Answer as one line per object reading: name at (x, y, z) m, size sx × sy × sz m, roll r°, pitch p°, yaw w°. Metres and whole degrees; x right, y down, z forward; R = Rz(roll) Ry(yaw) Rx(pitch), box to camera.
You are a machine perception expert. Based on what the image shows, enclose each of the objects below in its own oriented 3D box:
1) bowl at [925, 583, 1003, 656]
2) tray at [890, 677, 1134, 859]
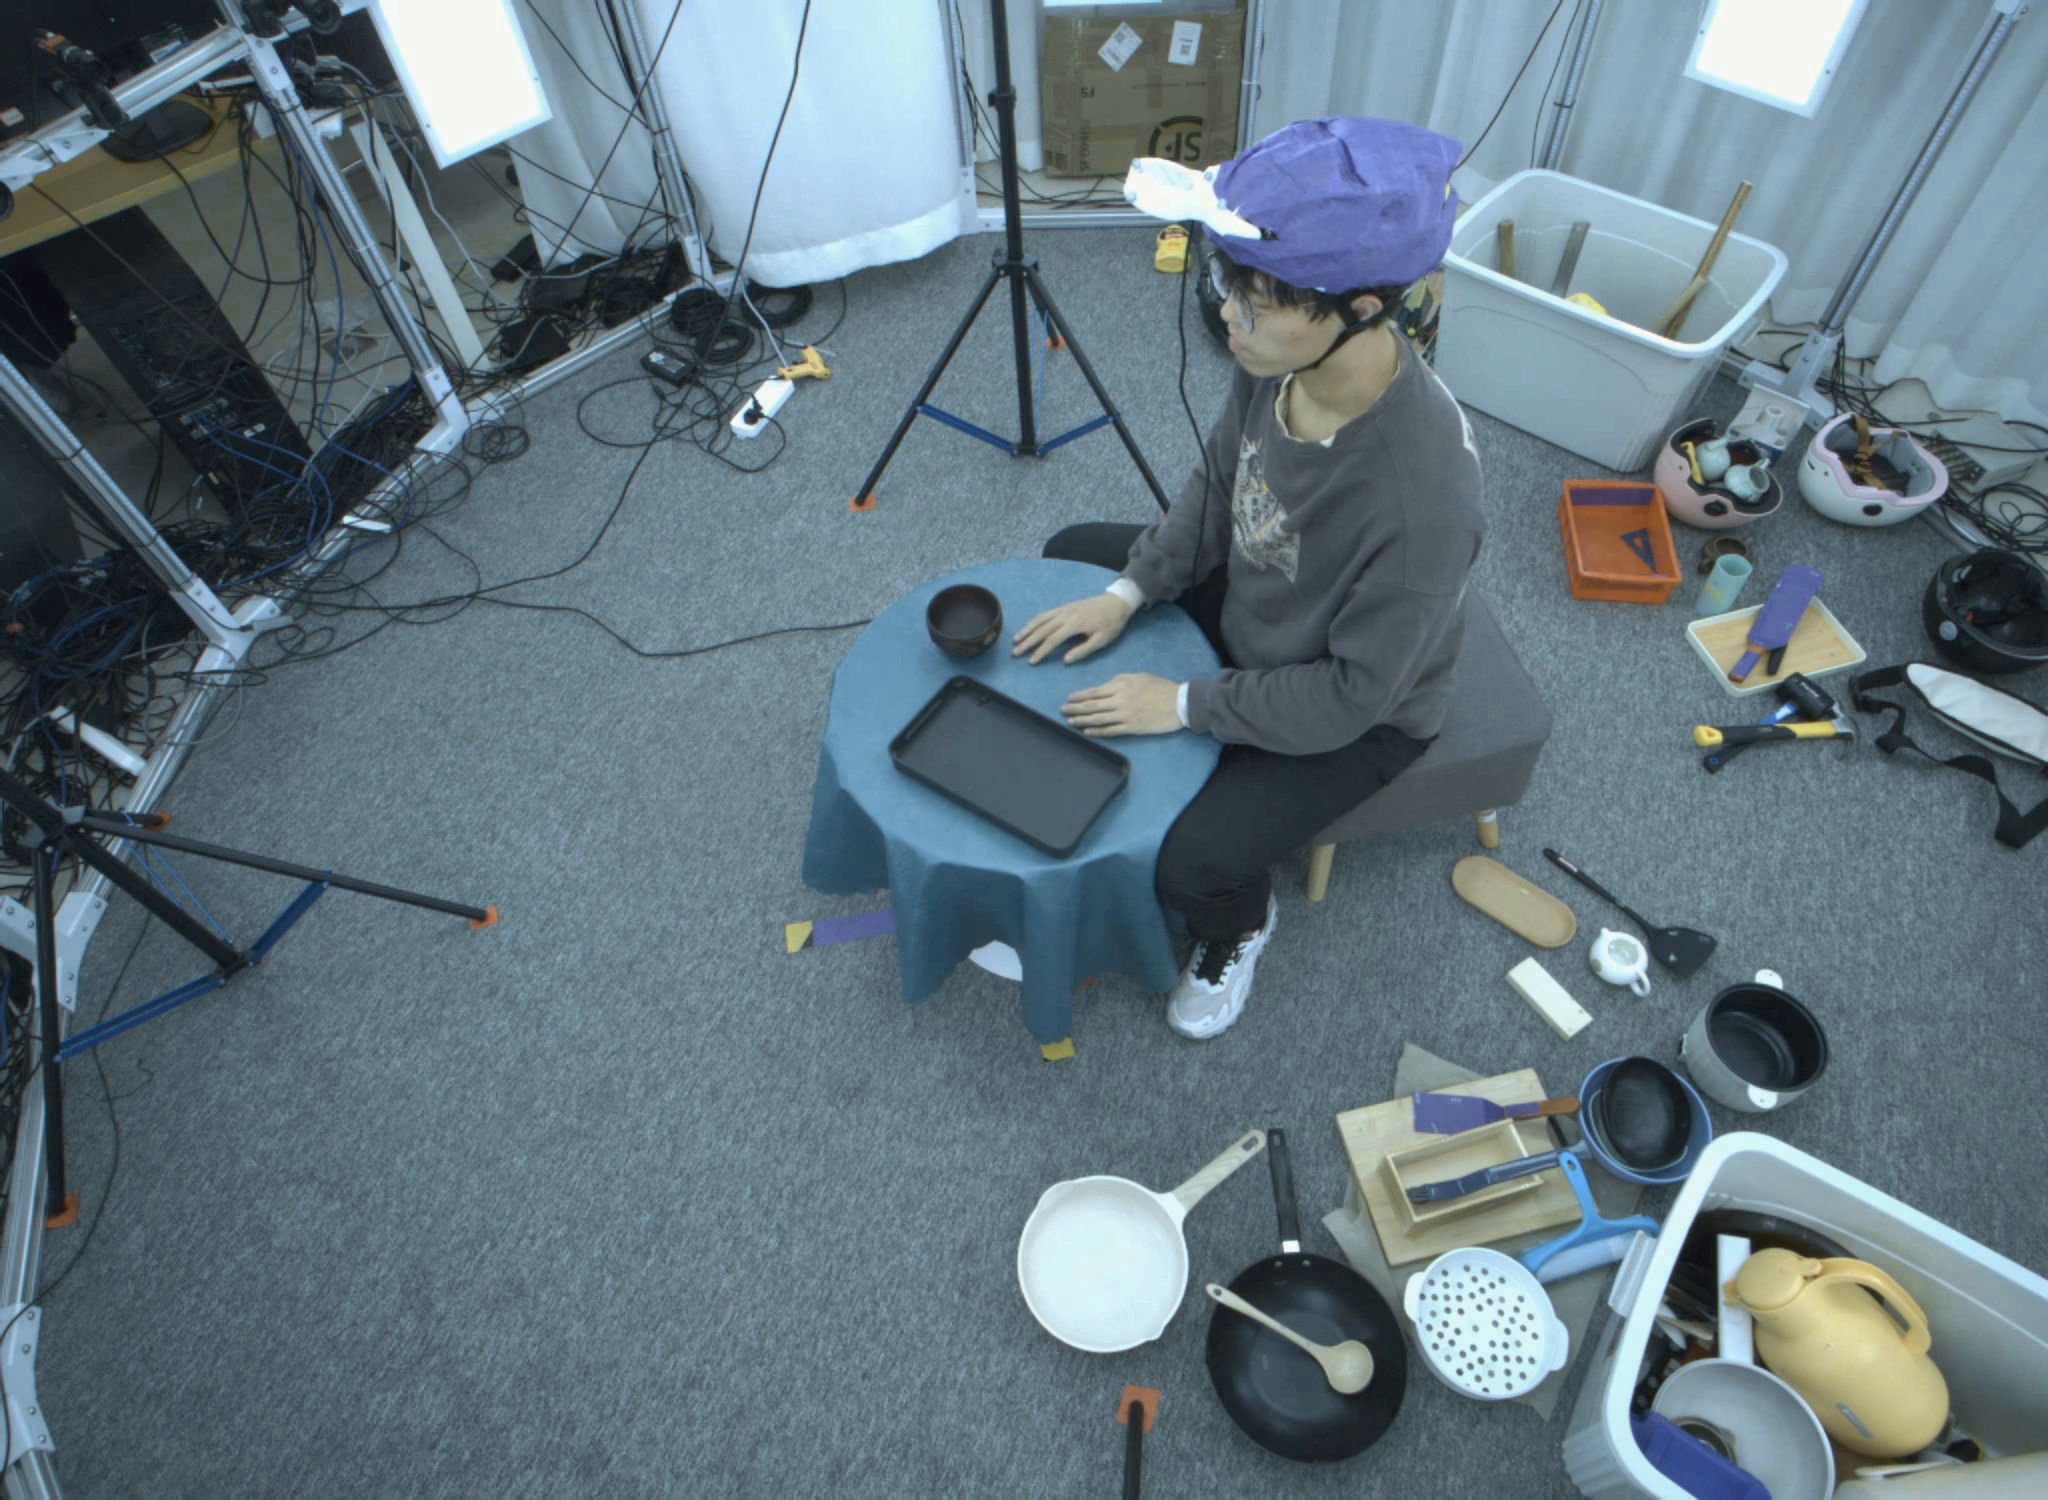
bowl at (-0.090, -0.192, 1.882) m, size 0.118 × 0.070 × 0.117 m, roll 0°, pitch 53°, yaw 1°
tray at (-0.018, 0.021, 1.749) m, size 0.313 × 0.037 × 0.185 m, roll 26°, pitch 59°, yaw 20°
